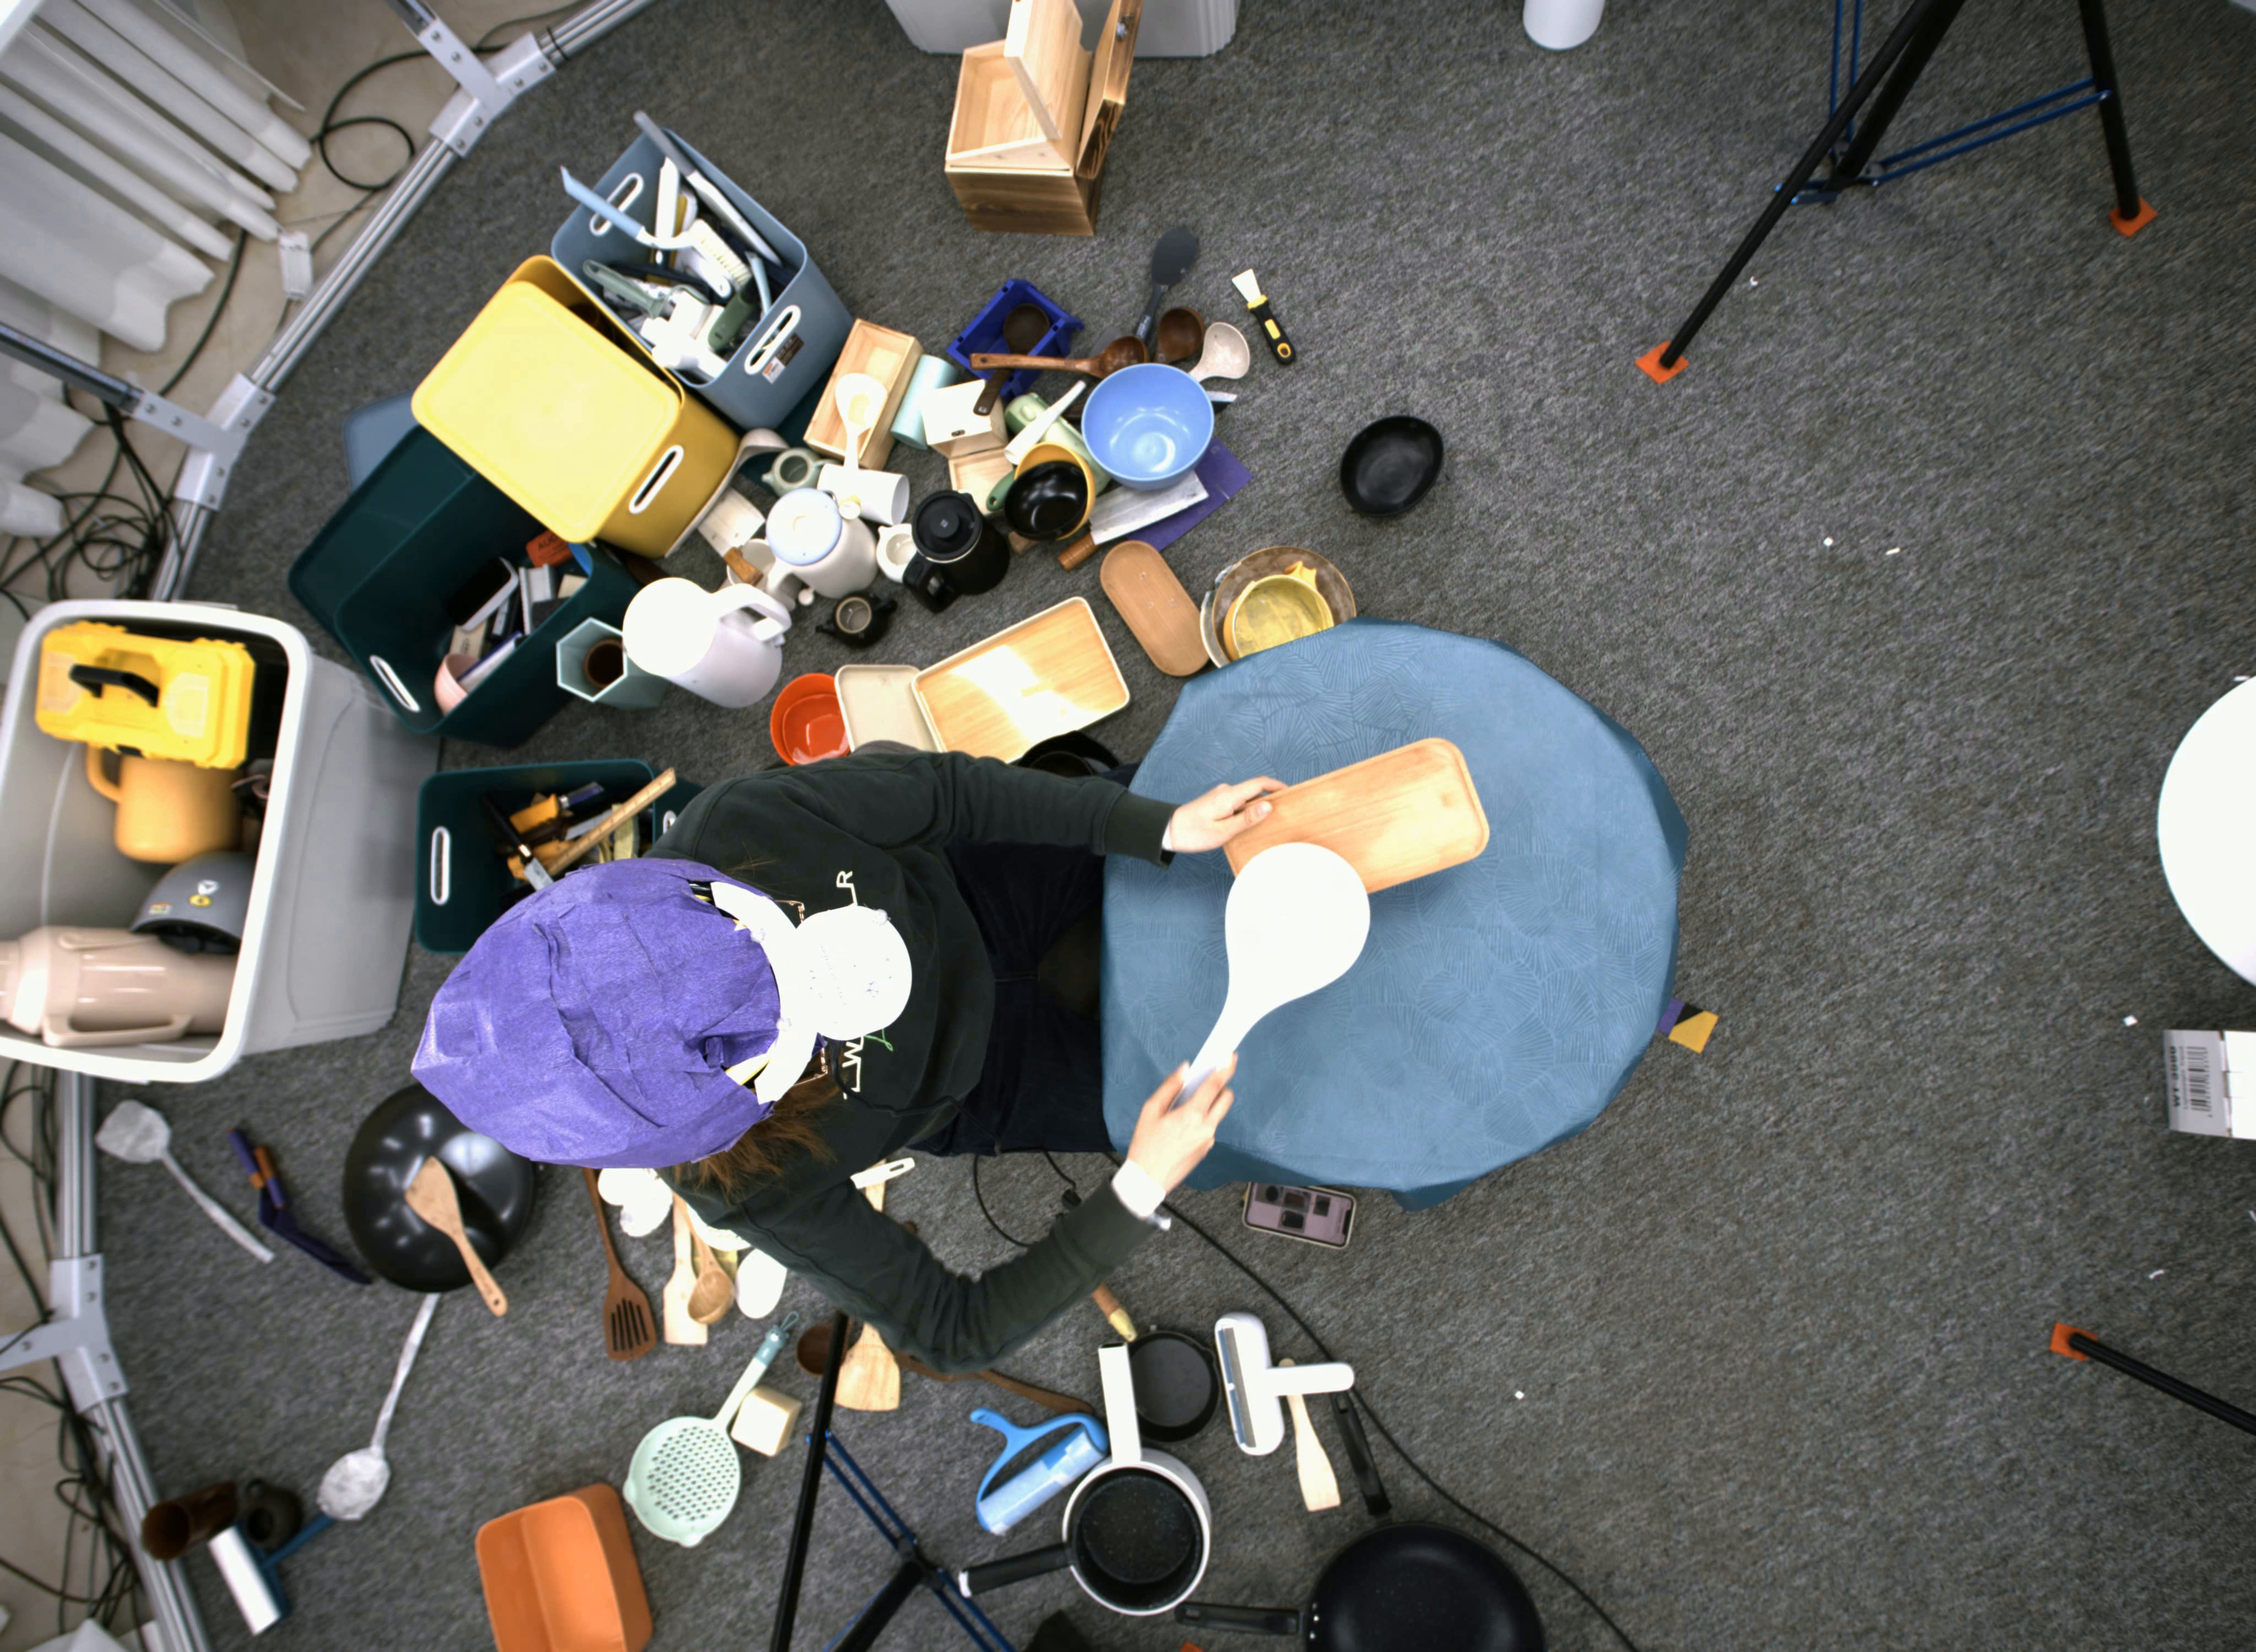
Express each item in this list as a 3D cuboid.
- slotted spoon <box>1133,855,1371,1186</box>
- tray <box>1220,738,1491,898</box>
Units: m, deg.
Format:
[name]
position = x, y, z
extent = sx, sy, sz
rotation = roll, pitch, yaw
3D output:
[slotted spoon]
position = 0.108, 0.186, 1.323
extent = 0.136, 0.046, 0.346
rotation = 31, 81, 6
[tray]
position = 0.220, 0.004, 1.350
extent = 0.253, 0.022, 0.131
rotation = -19, 103, 20
